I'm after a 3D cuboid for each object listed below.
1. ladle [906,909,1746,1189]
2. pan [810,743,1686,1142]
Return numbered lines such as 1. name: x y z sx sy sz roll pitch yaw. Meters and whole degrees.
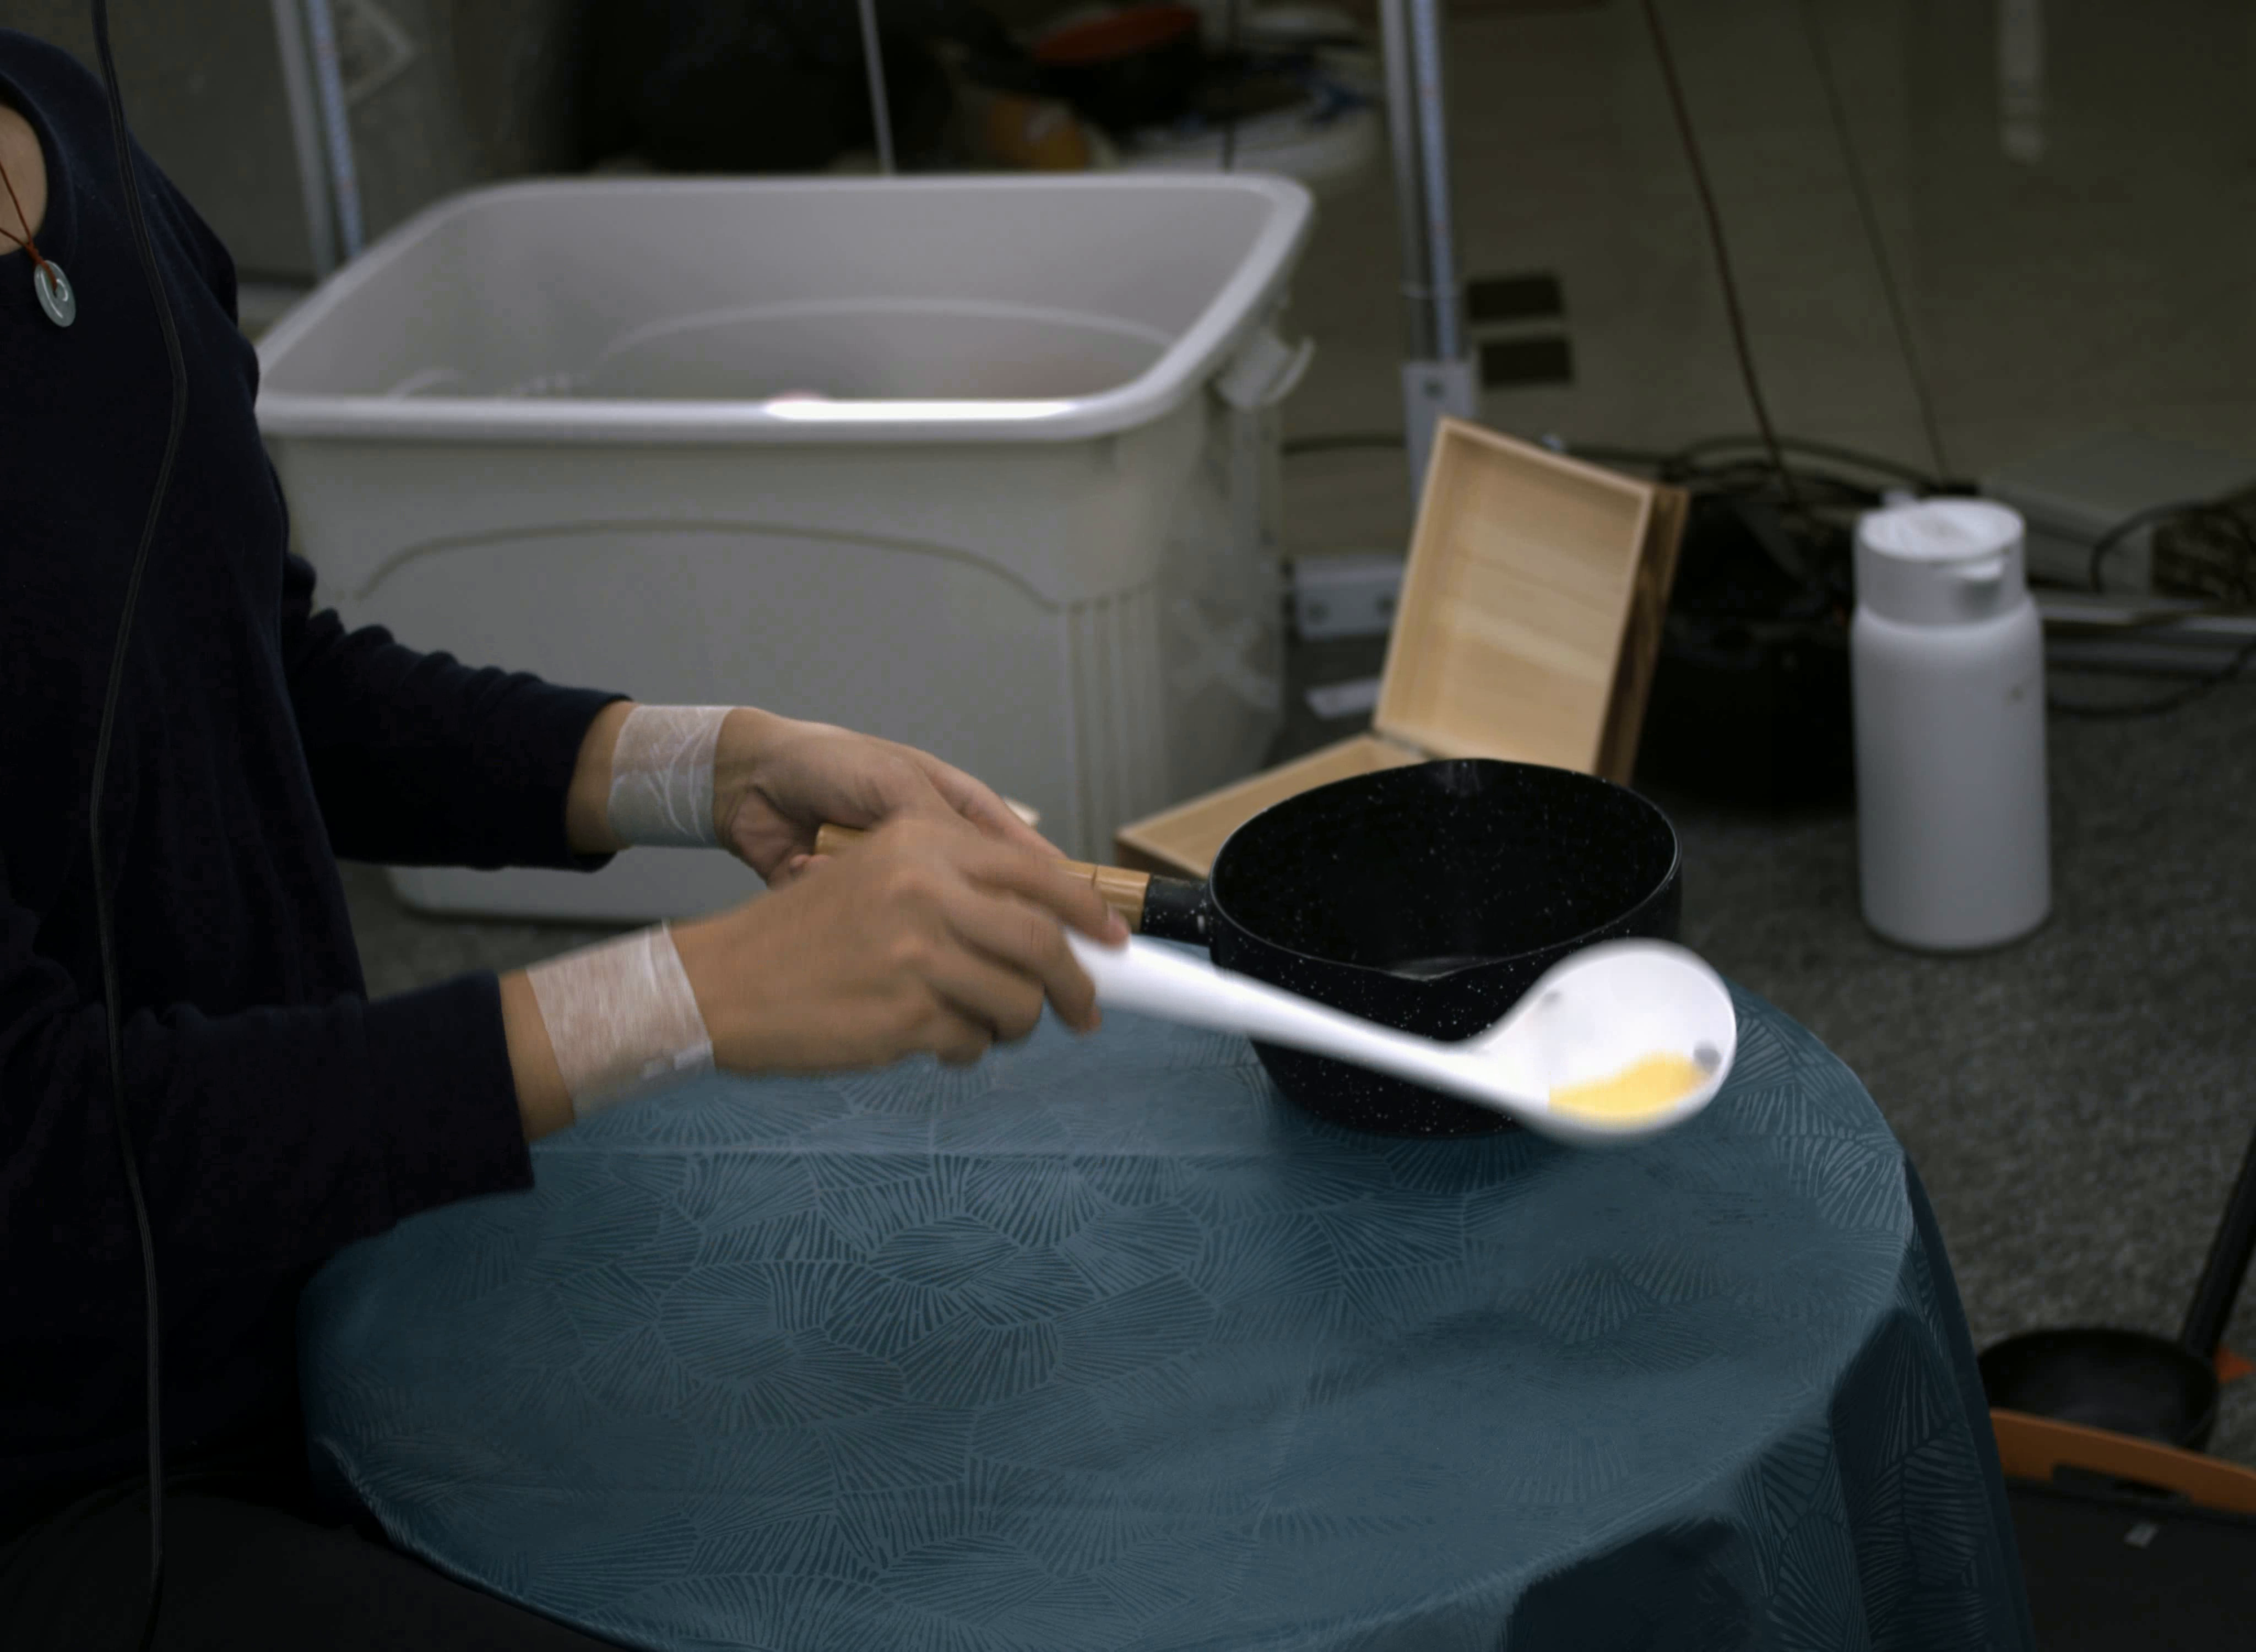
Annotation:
1. ladle: 0.071 0.067 1.962 0.293 0.071 0.088 15 47 -21
2. pan: 0.047 0.043 2.212 0.342 0.110 0.204 -1 27 8
